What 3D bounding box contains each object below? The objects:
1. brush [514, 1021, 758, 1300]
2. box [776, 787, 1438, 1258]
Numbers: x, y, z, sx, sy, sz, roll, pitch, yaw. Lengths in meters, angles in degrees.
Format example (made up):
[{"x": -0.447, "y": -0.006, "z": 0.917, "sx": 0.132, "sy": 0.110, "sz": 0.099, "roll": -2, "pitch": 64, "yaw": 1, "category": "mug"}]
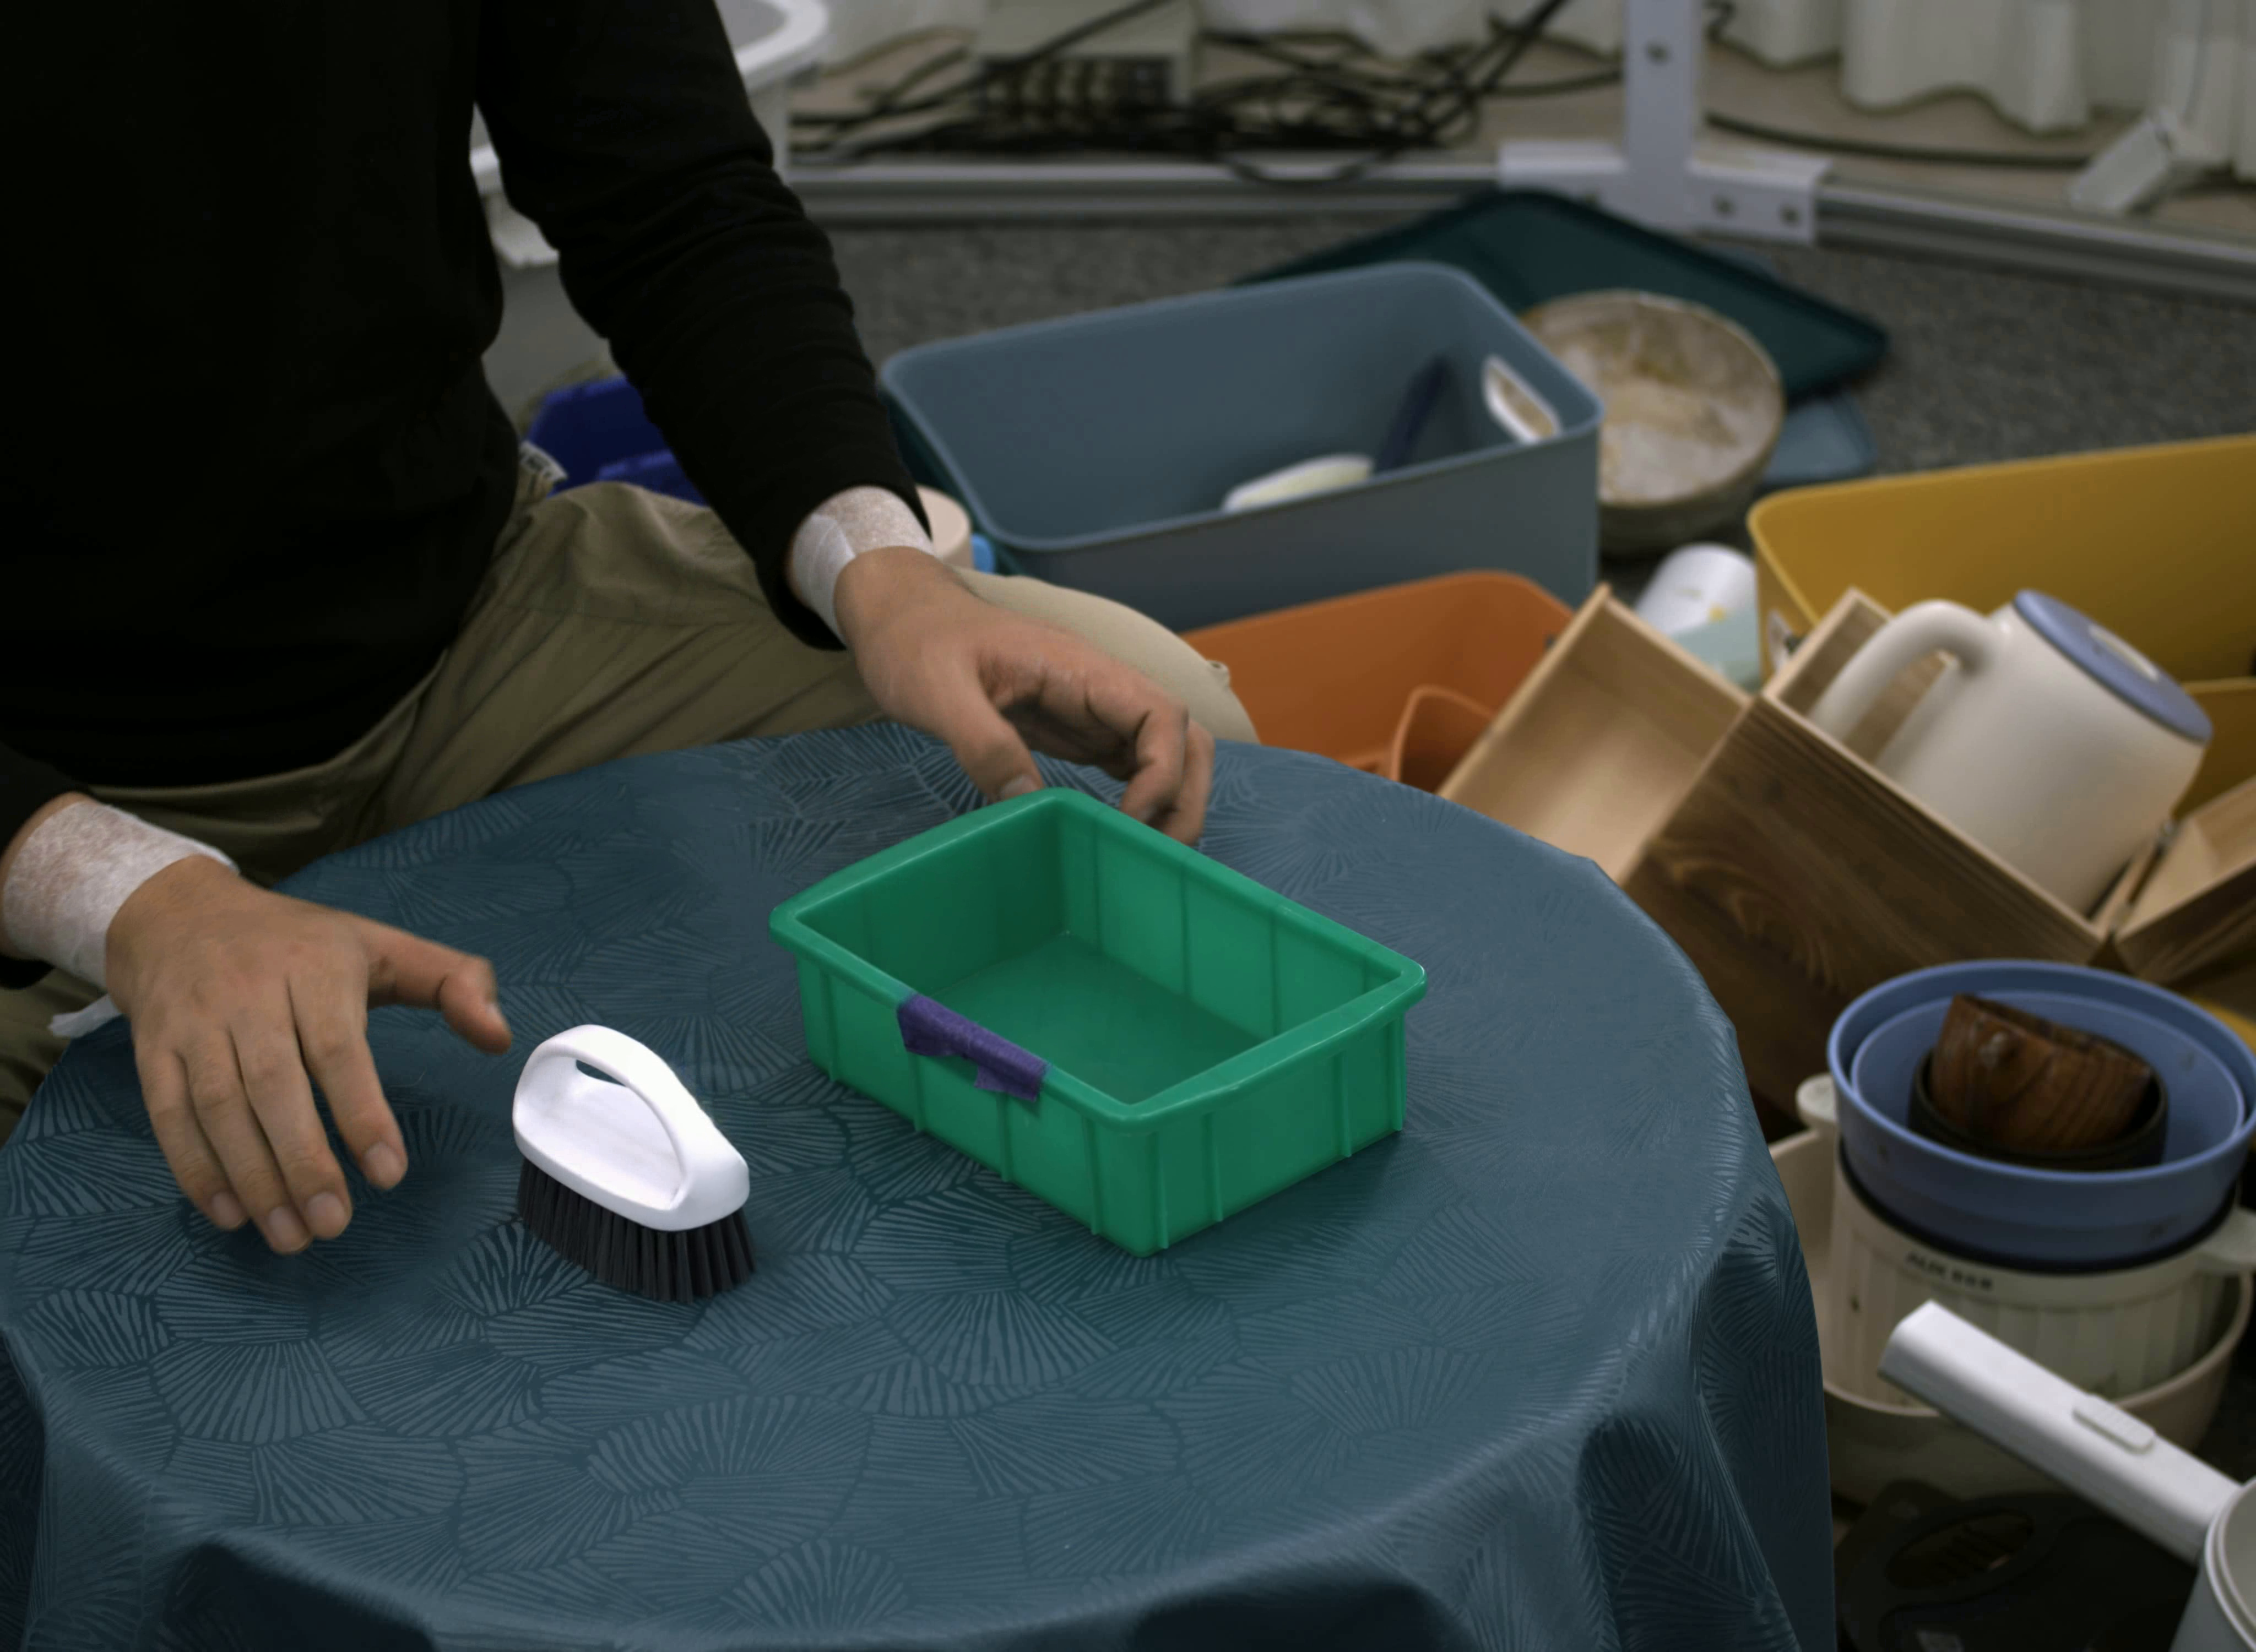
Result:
[{"x": -0.164, "y": 0.103, "z": 1.835, "sx": 0.051, "sy": 0.072, "sz": 0.099, "roll": -23, "pitch": 33, "yaw": -33, "category": "brush"}, {"x": -0.007, "y": 0.066, "z": 1.902, "sx": 0.140, "sy": 0.064, "sz": 0.210, "roll": -26, "pitch": 36, "yaw": -34, "category": "box"}]
